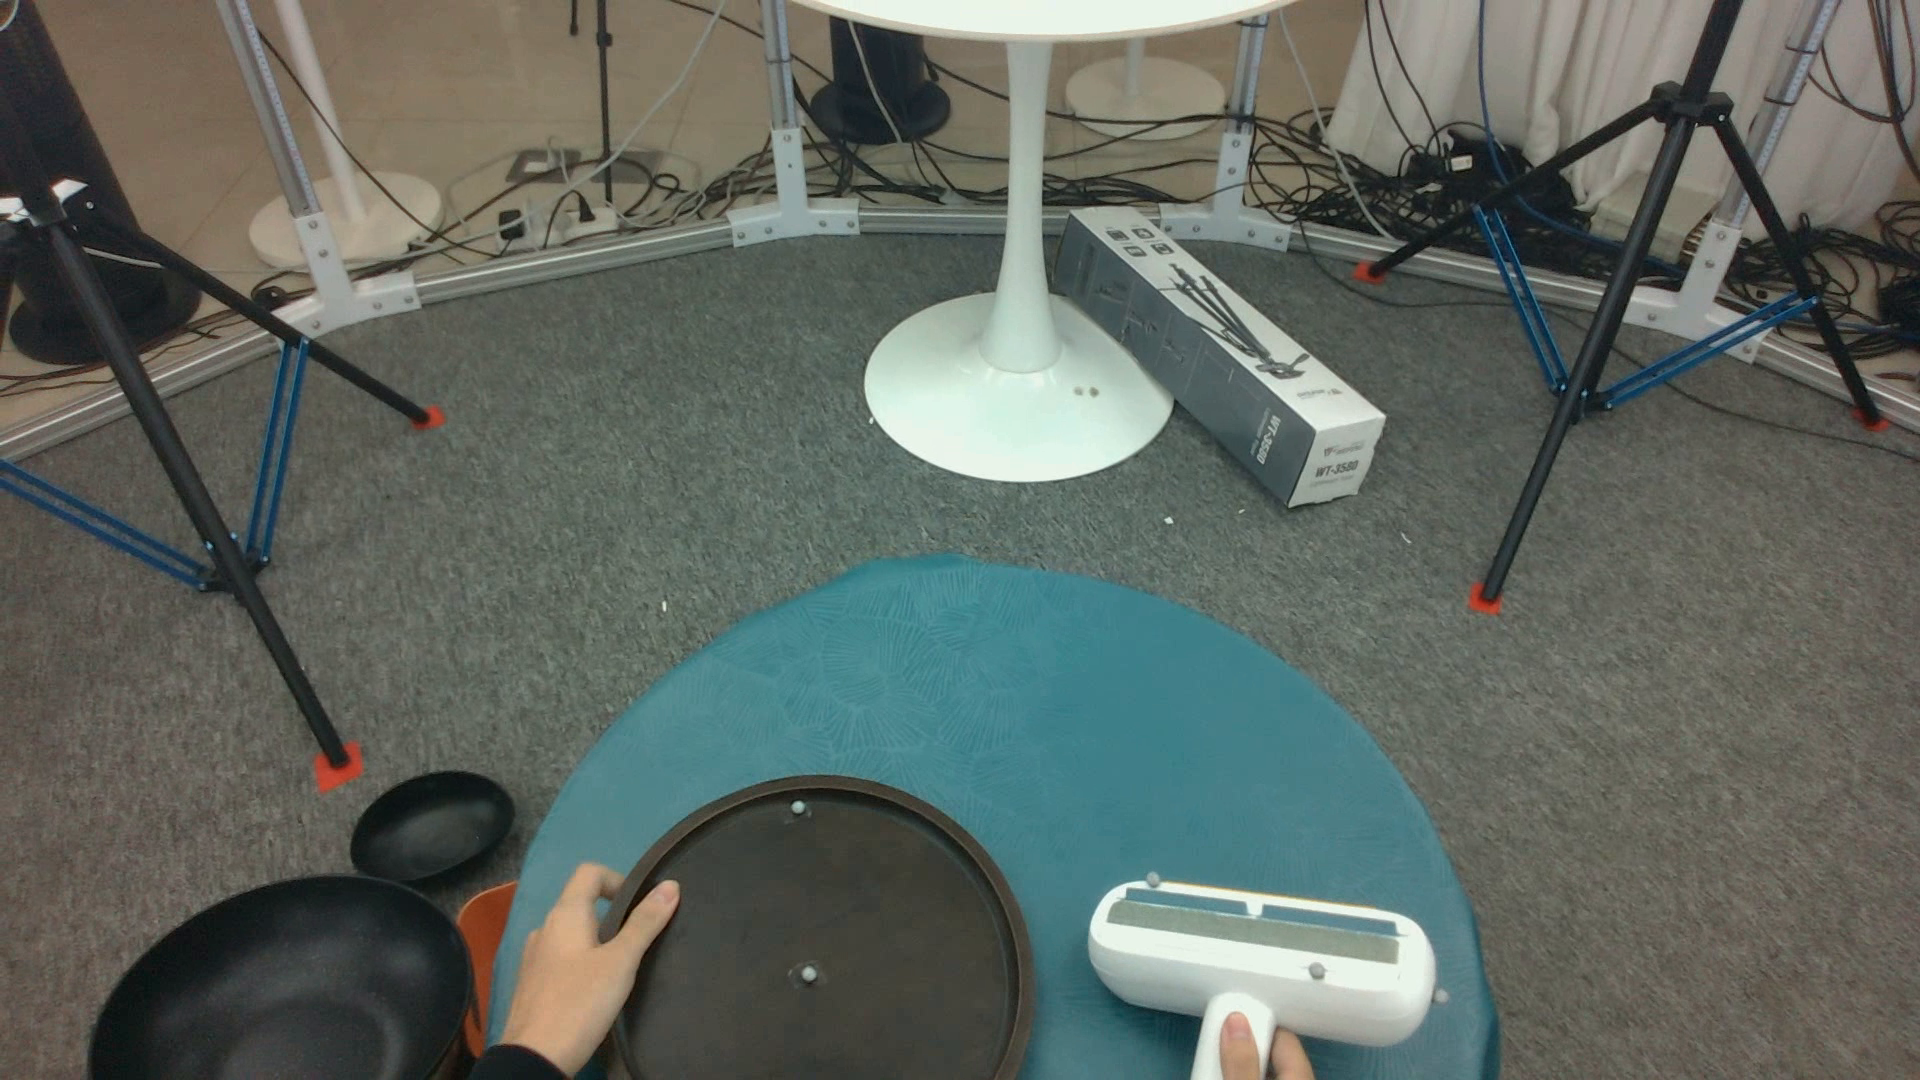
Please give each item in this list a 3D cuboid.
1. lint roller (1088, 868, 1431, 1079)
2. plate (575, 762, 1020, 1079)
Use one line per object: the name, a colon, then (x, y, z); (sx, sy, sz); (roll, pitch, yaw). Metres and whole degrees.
lint roller: (0.141, 0.269, 0.741); (0.192, 0.074, 0.193); (6, 39, 28)
plate: (-0.090, 0.244, 0.794); (0.255, 0.029, 0.256); (5, 50, -6)
